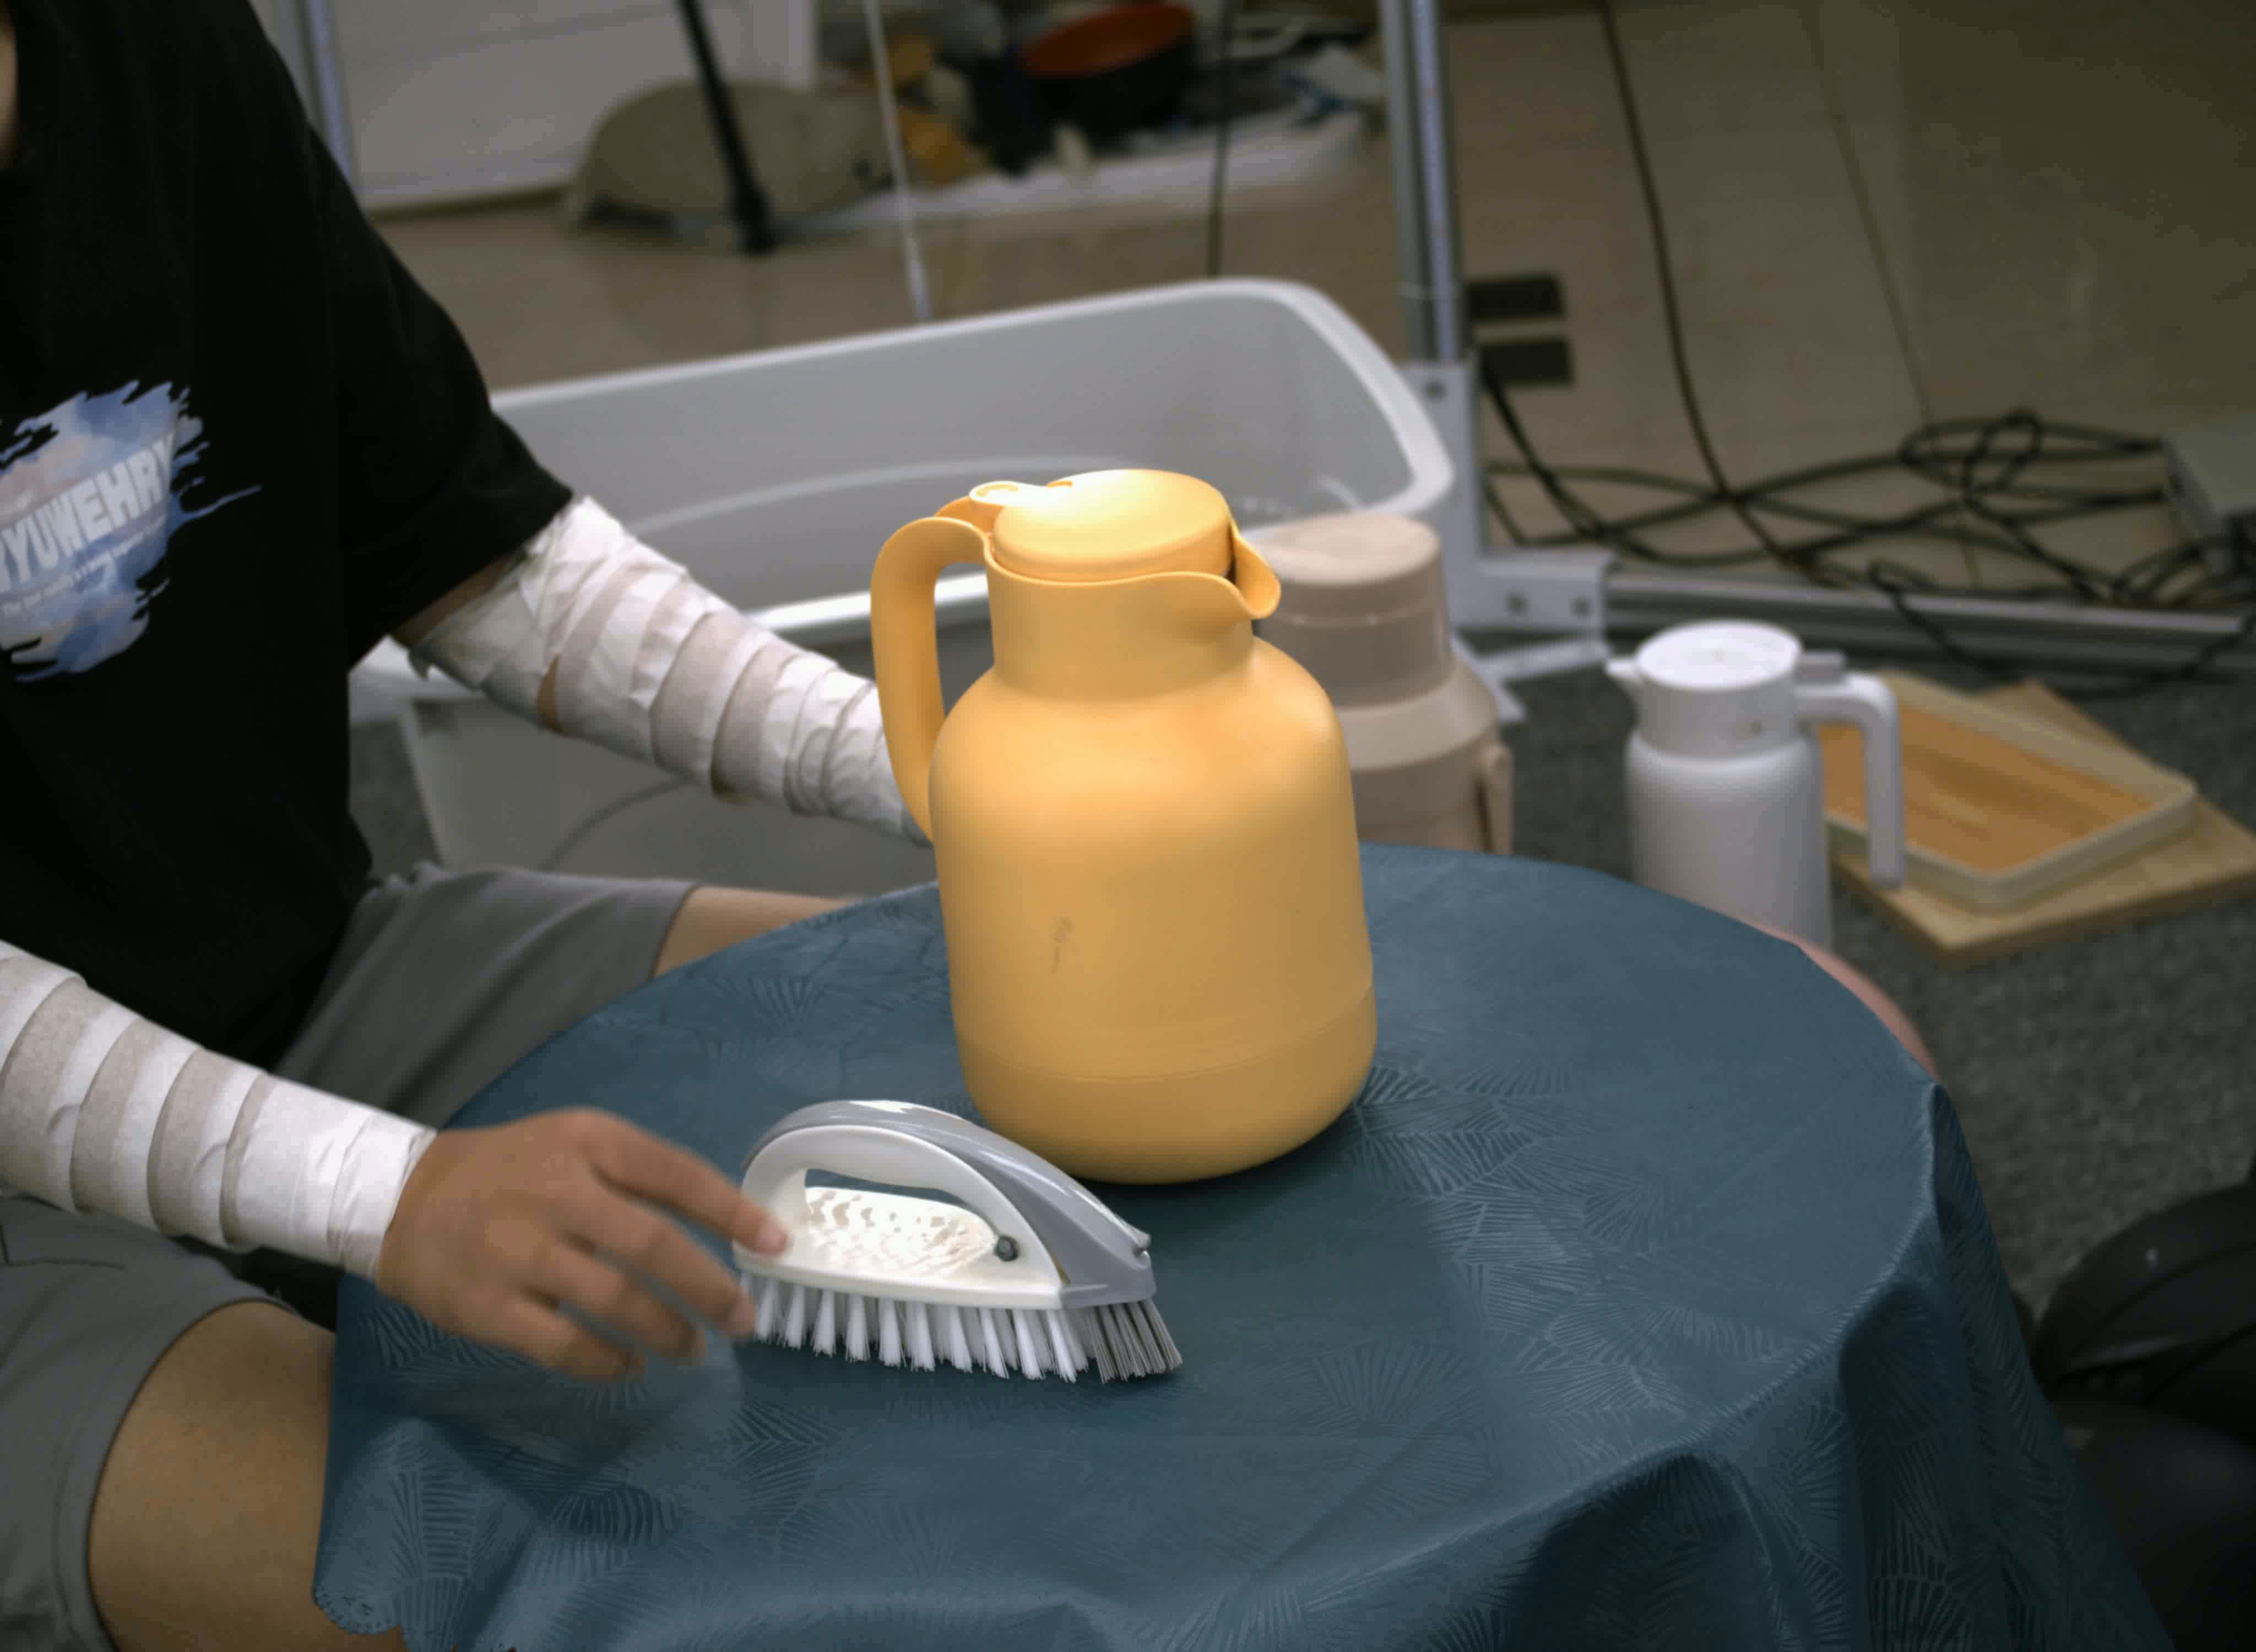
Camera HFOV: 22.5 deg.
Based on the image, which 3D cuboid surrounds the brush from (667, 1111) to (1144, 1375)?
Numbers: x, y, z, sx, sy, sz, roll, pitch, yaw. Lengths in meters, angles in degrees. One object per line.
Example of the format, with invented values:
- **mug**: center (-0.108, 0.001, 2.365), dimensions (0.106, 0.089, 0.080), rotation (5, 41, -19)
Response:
- **brush**: center (-0.081, 0.146, 2.034), dimensions (0.175, 0.096, 0.060), rotation (5, 32, 11)

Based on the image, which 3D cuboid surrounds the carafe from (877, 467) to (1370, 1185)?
- **carafe**: center (-0.008, -0.009, 2.157), dimensions (0.201, 0.264, 0.162), rotation (19, 34, 40)
